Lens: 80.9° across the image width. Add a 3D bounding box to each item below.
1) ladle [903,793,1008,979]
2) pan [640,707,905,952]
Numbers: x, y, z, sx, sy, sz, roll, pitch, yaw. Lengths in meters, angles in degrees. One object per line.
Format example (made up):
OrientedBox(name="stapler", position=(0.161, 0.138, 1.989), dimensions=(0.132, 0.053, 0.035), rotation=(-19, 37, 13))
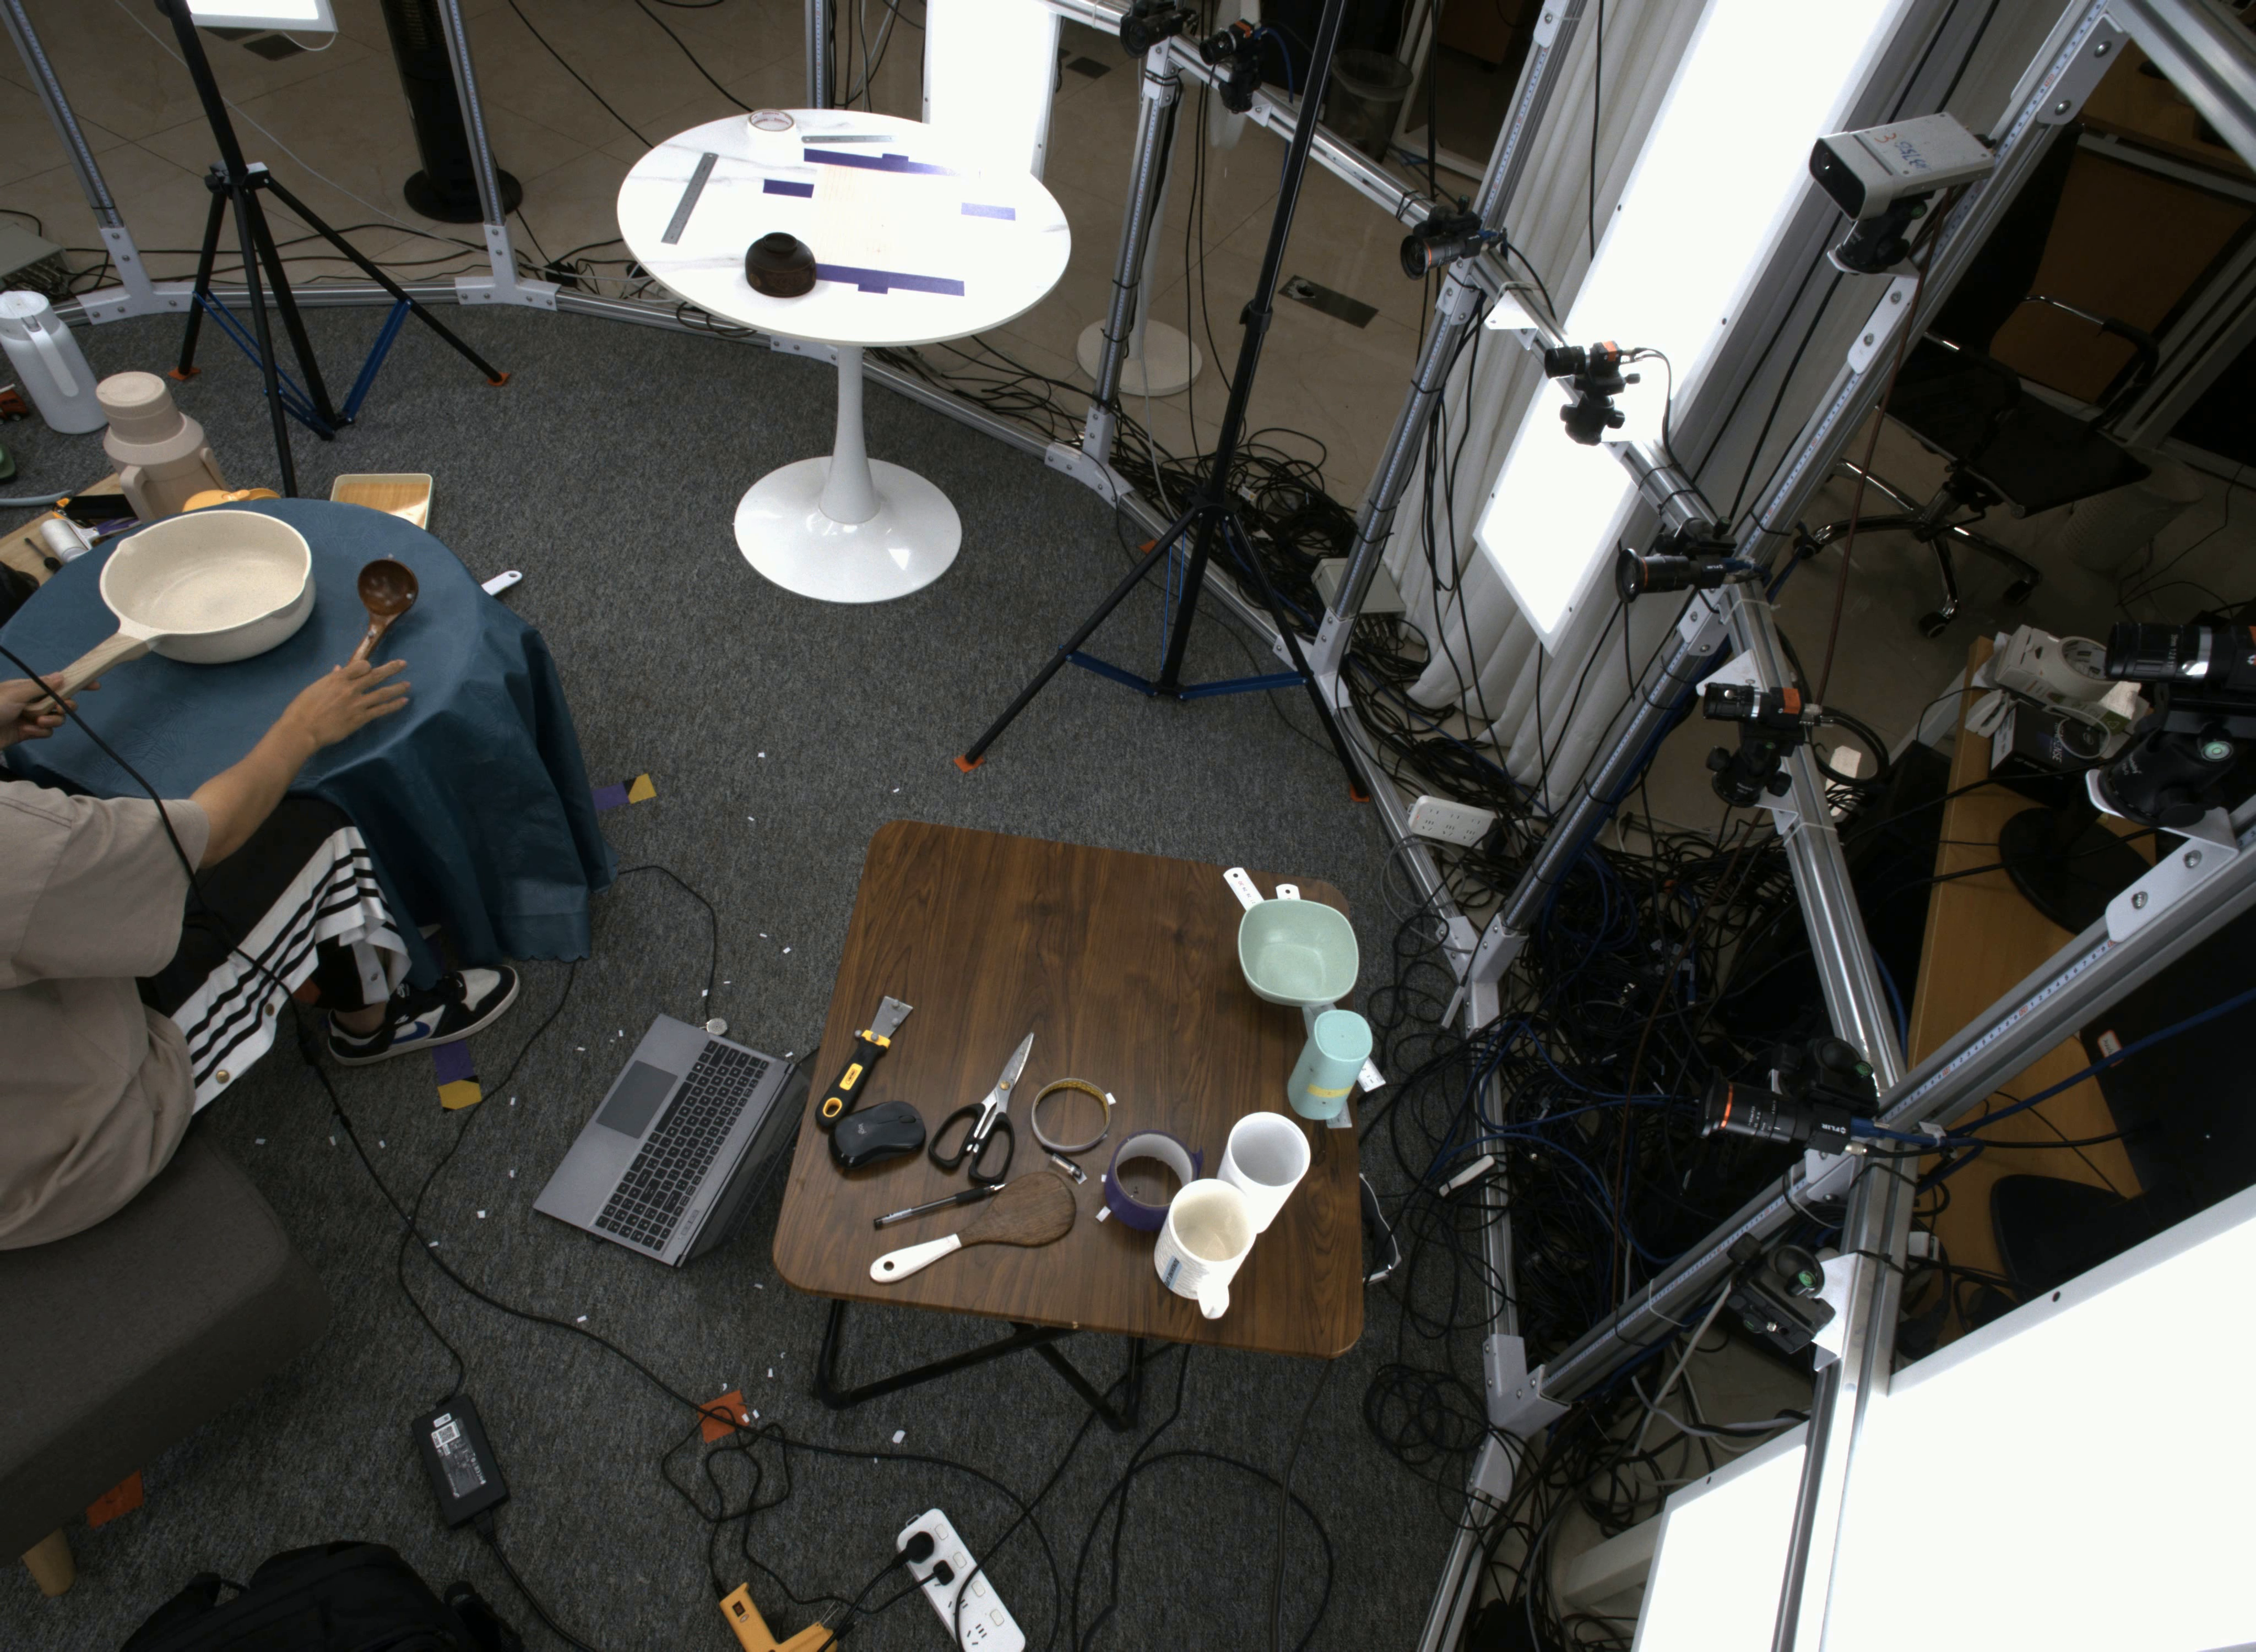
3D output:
OrientedBox(name="ladle", position=(-0.223, 0.067, 1.655), dimensions=(0.081, 0.079, 0.271), rotation=(15, 46, 5))
OrientedBox(name="pan", position=(-0.463, 0.020, 1.646), dimensions=(0.259, 0.104, 0.433), rotation=(30, 53, 9))
